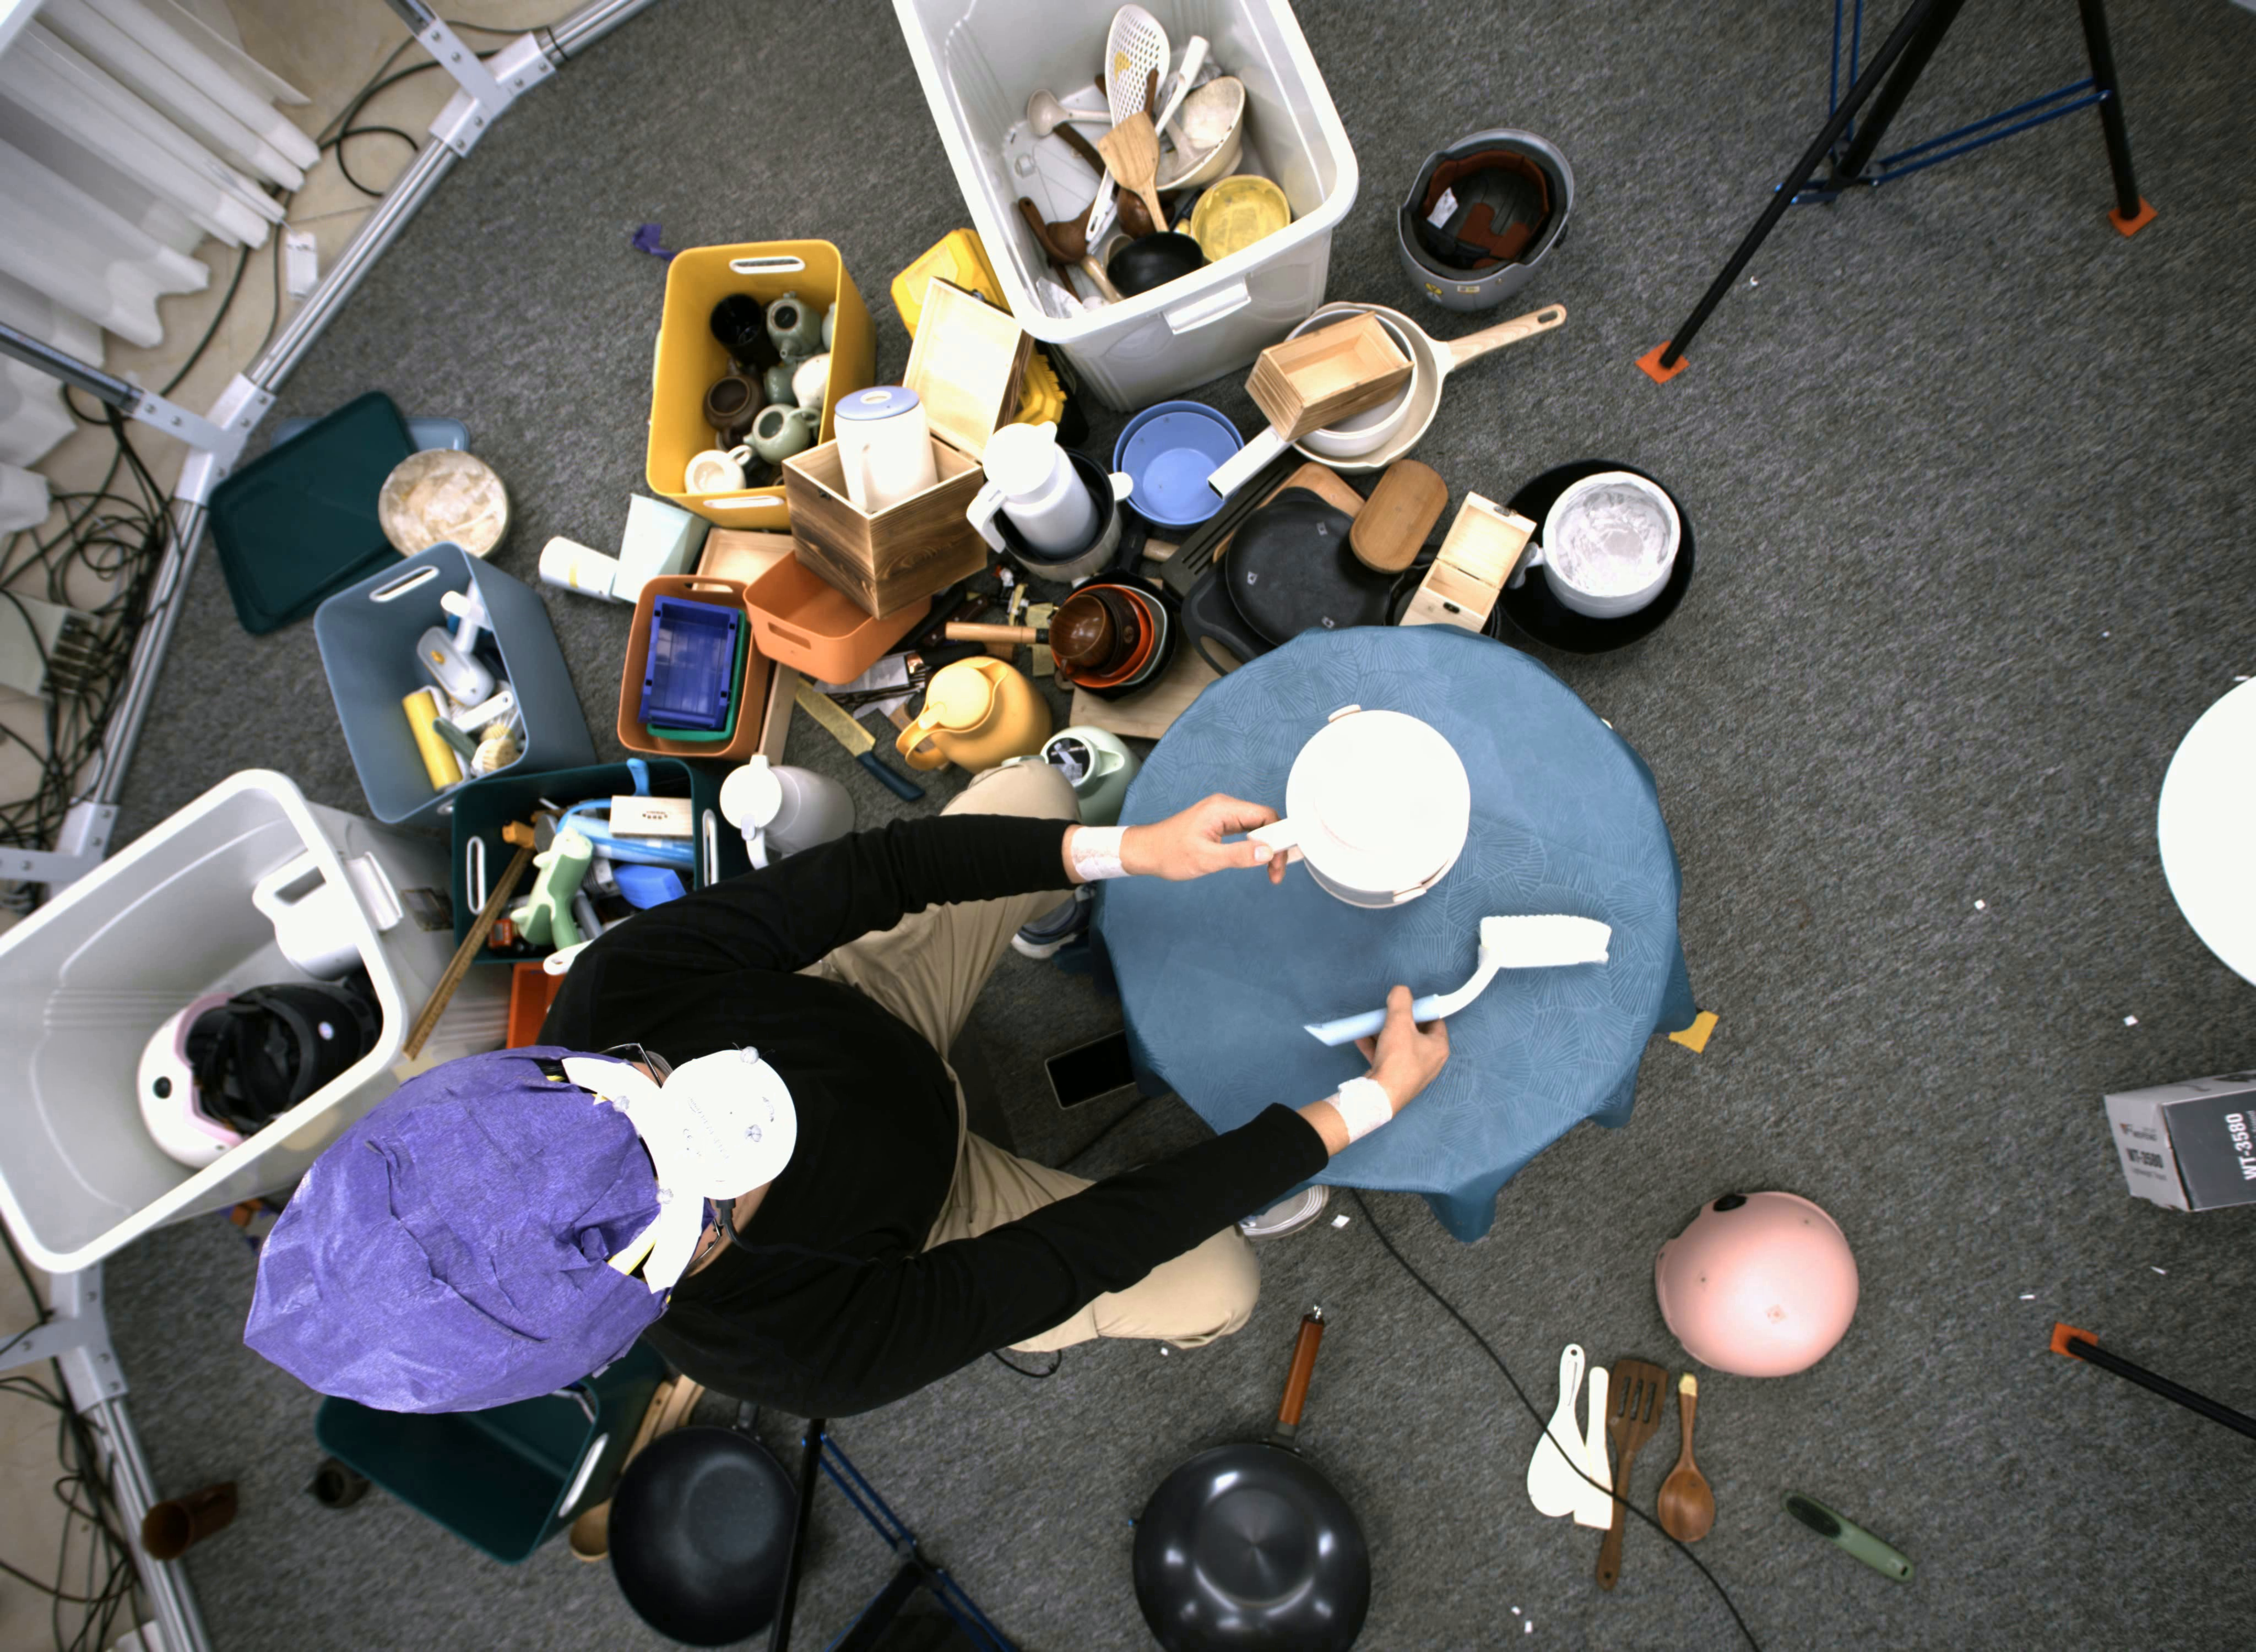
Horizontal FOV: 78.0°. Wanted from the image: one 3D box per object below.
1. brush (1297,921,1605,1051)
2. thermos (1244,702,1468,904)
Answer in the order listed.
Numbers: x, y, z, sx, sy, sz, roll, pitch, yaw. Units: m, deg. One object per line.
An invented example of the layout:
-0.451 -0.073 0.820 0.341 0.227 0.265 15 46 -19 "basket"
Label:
0.322 0.142 1.387 0.326 0.084 0.083 -14 65 -1 "brush"
0.213 -0.012 1.274 0.208 0.406 0.174 -20 83 7 "thermos"
